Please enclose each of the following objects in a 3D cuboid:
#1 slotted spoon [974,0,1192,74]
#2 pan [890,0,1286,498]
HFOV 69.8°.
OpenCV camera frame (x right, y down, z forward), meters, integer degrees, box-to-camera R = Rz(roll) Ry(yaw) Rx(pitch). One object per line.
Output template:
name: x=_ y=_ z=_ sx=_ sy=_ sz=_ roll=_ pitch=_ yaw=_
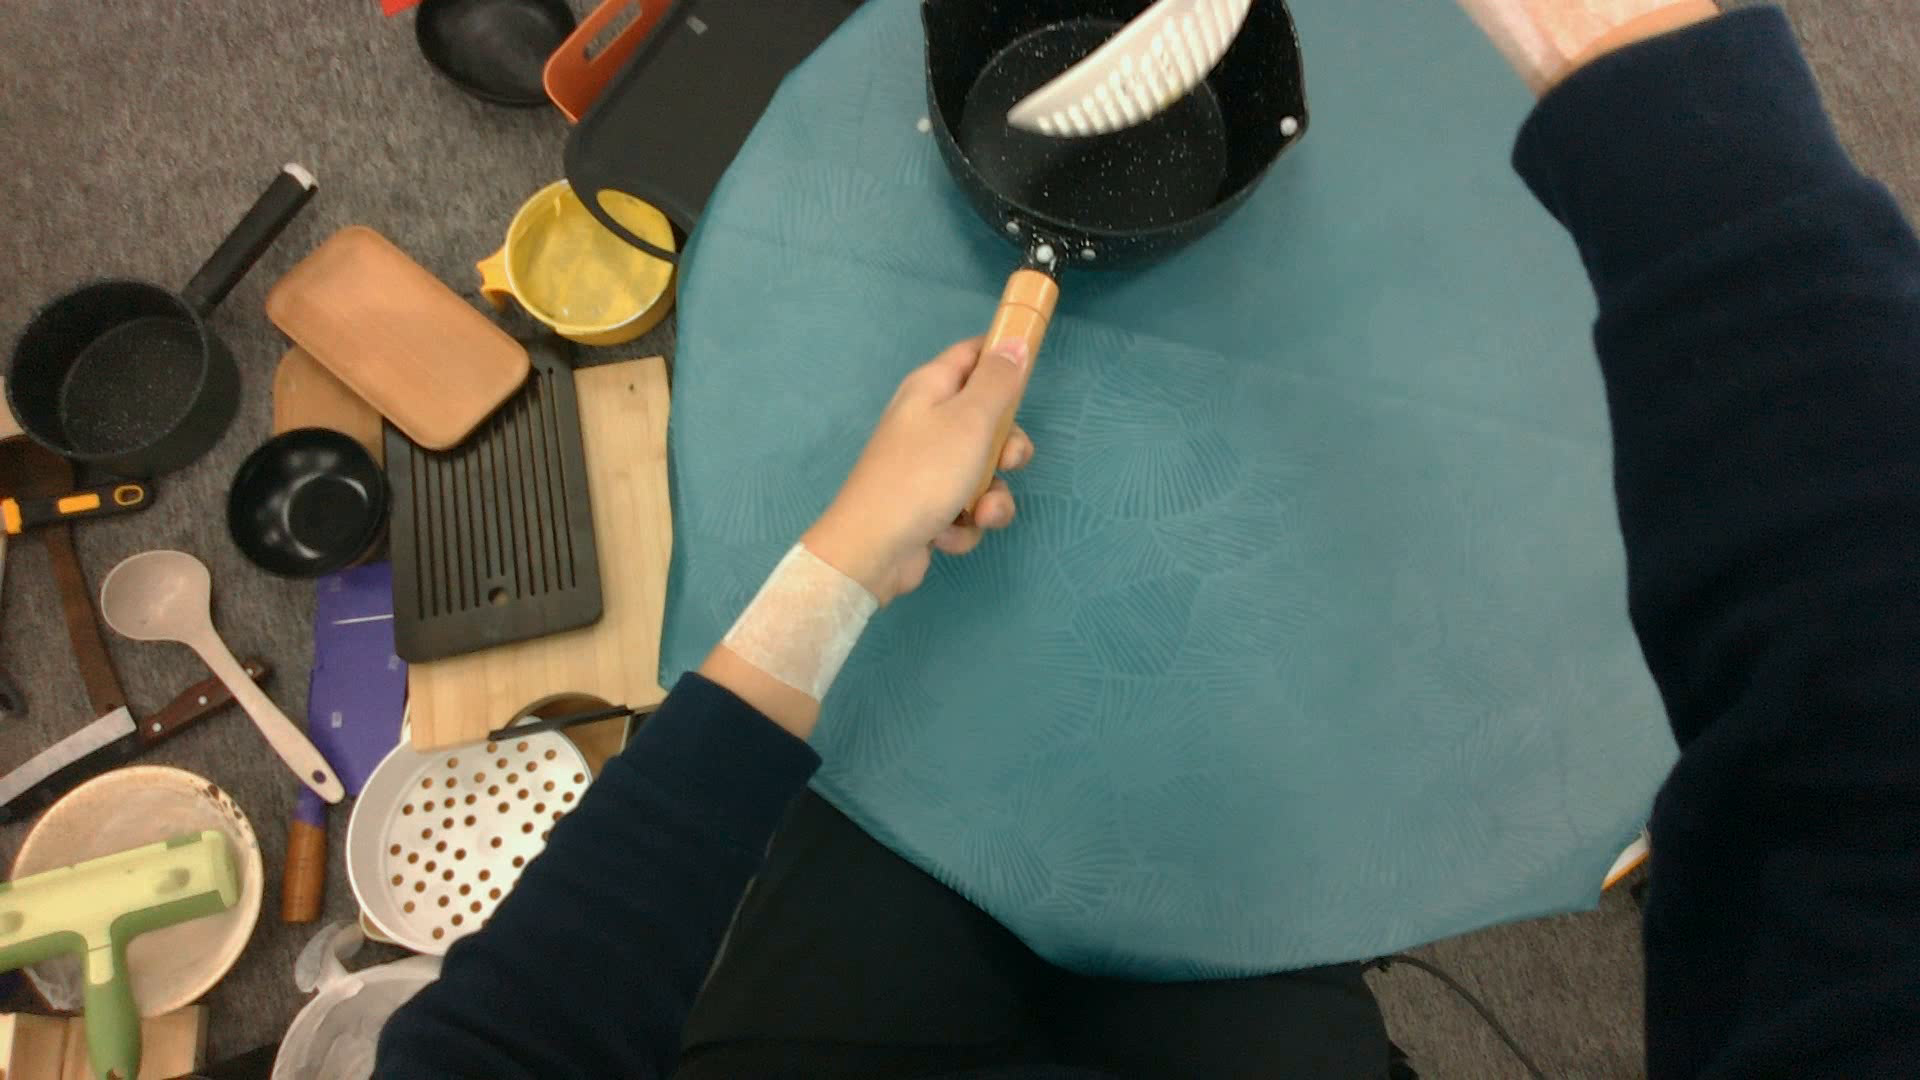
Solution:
slotted spoon: x=0.099 y=-0.240 z=0.538 sx=0.137 sy=0.348 sz=0.050 roll=-38 pitch=102 yaw=-7
pan: x=0.039 y=-0.168 z=0.685 sx=0.207 sy=0.108 sz=0.343 roll=18 pitch=77 yaw=0
